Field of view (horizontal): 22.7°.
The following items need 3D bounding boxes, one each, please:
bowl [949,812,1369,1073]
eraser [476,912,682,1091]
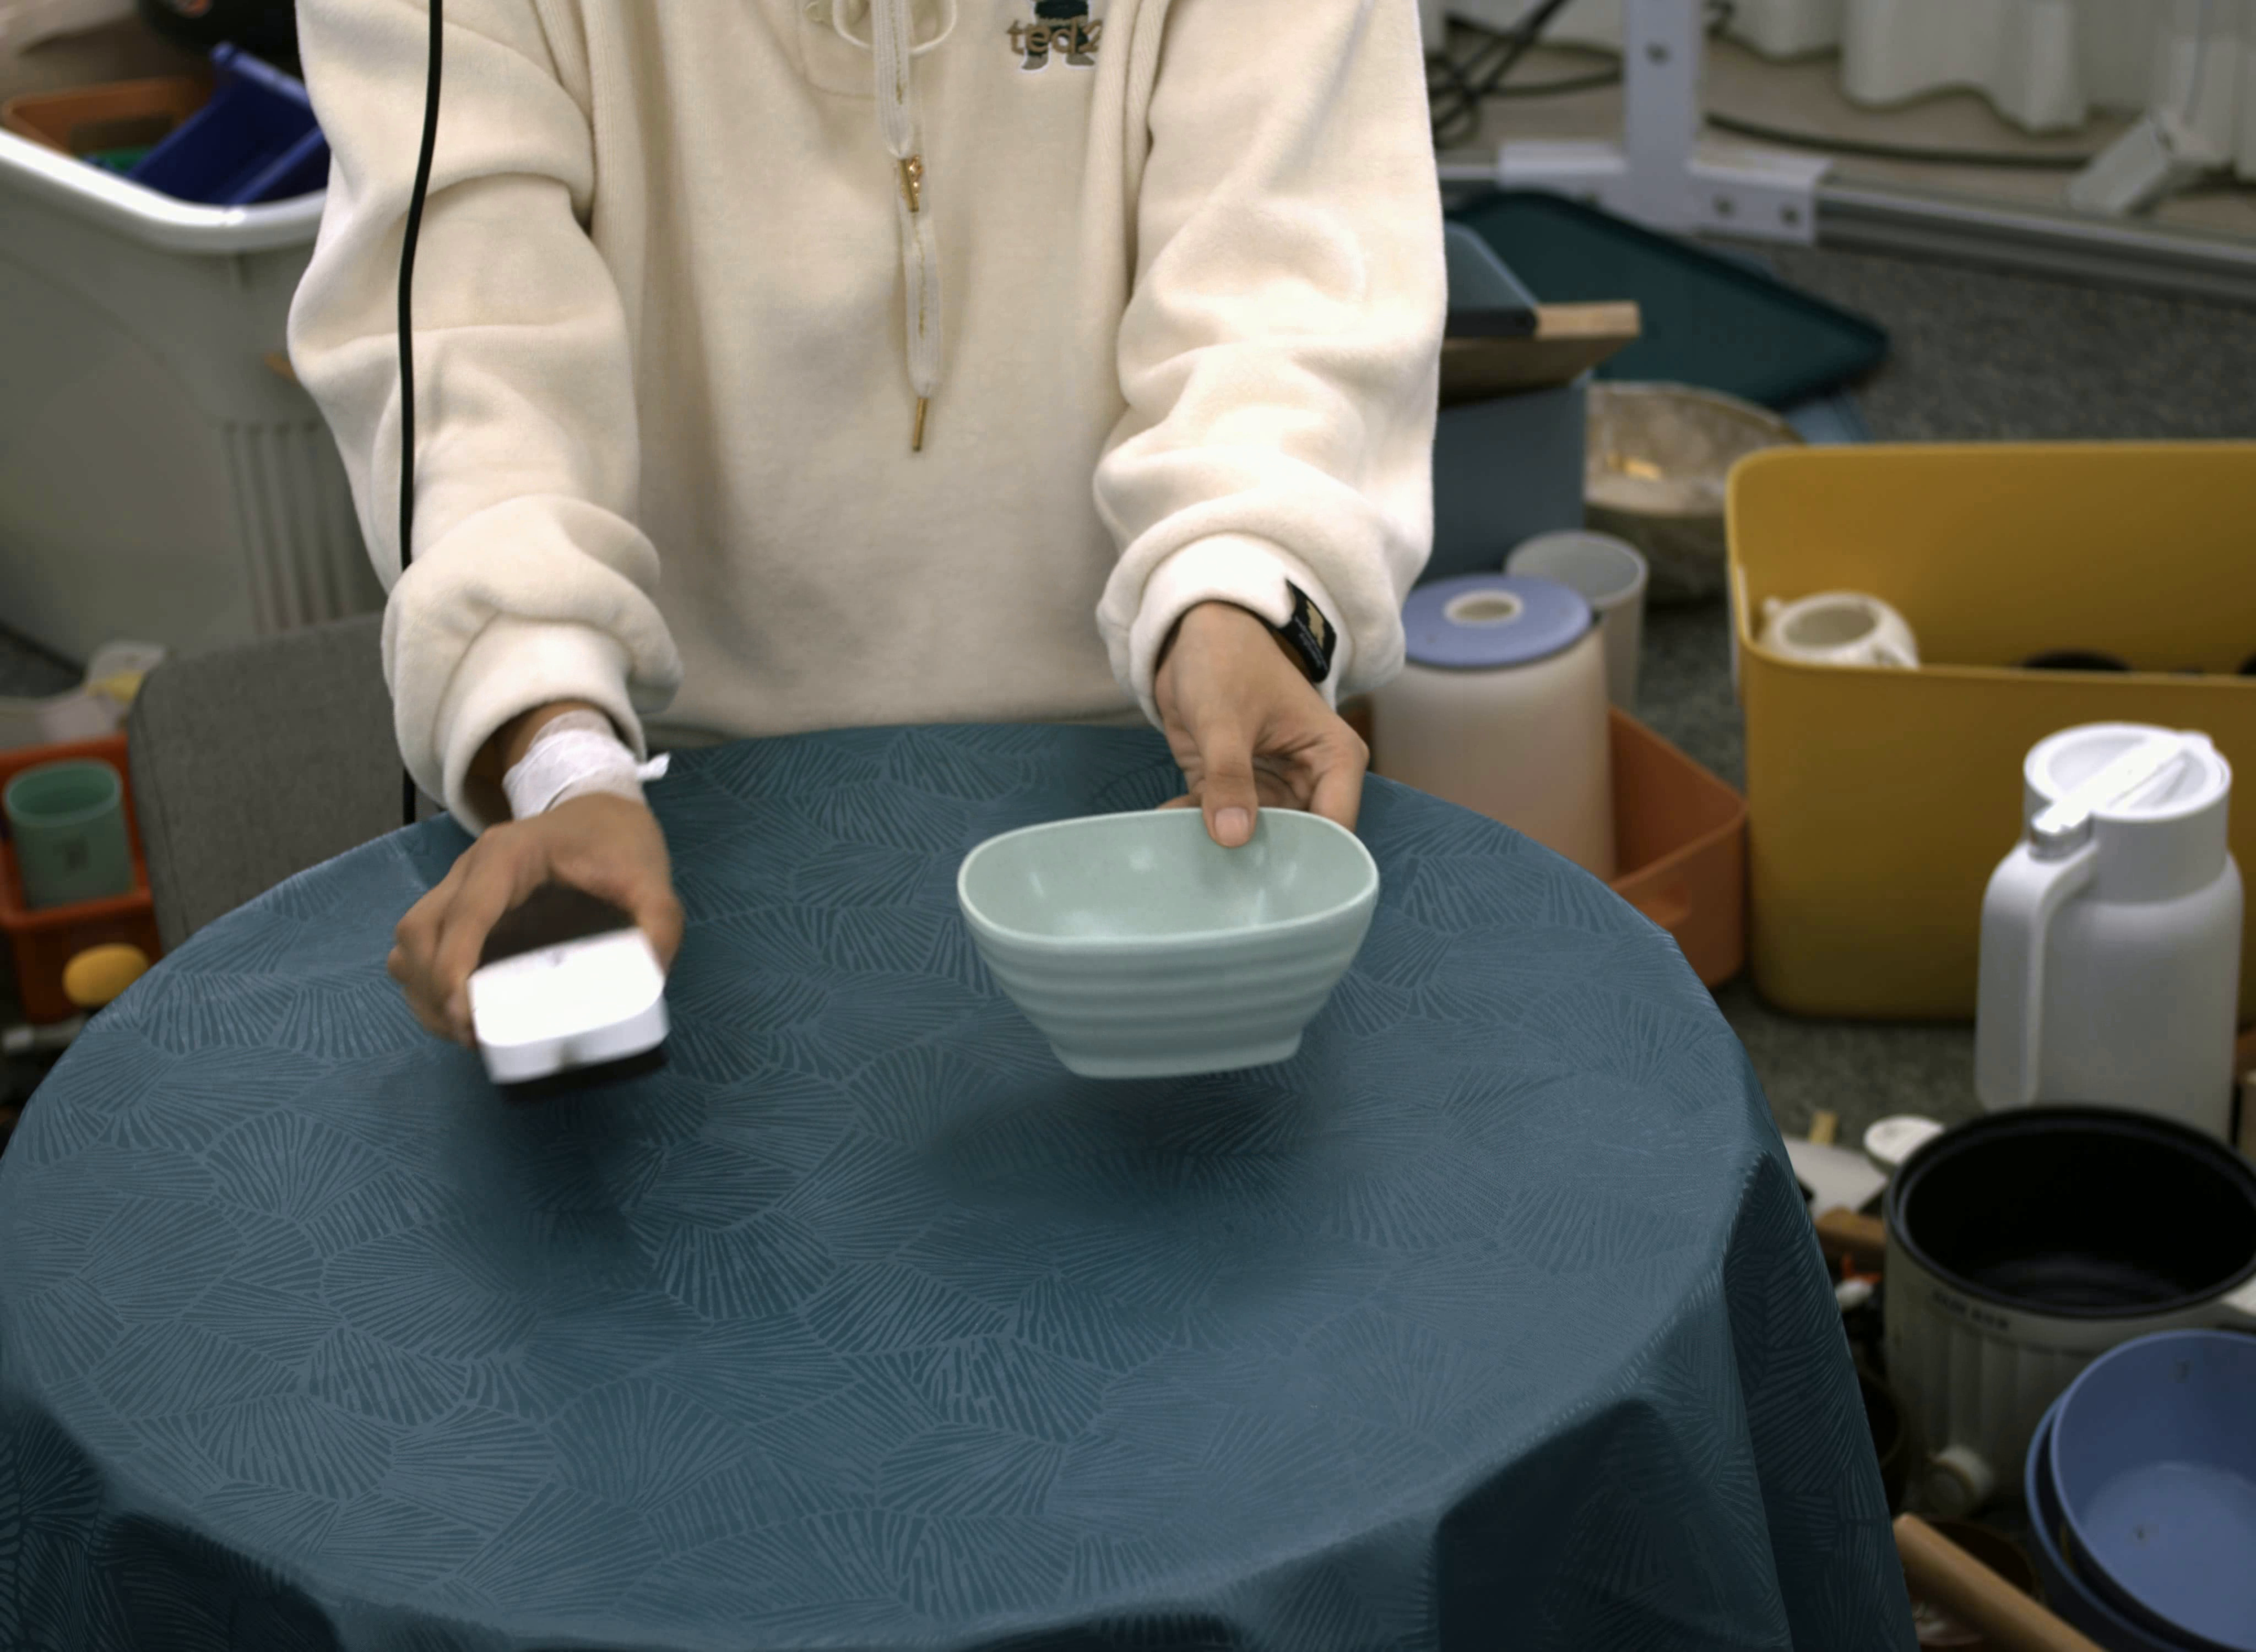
[{"bbox_3d":[0.011,0.042,1.872,0.151,0.058,0.153,-1,16,1],"label":"bowl"},{"bbox_3d":[-0.181,0.056,1.868,0.063,0.034,0.131,-13,12,-7],"label":"eraser"}]
